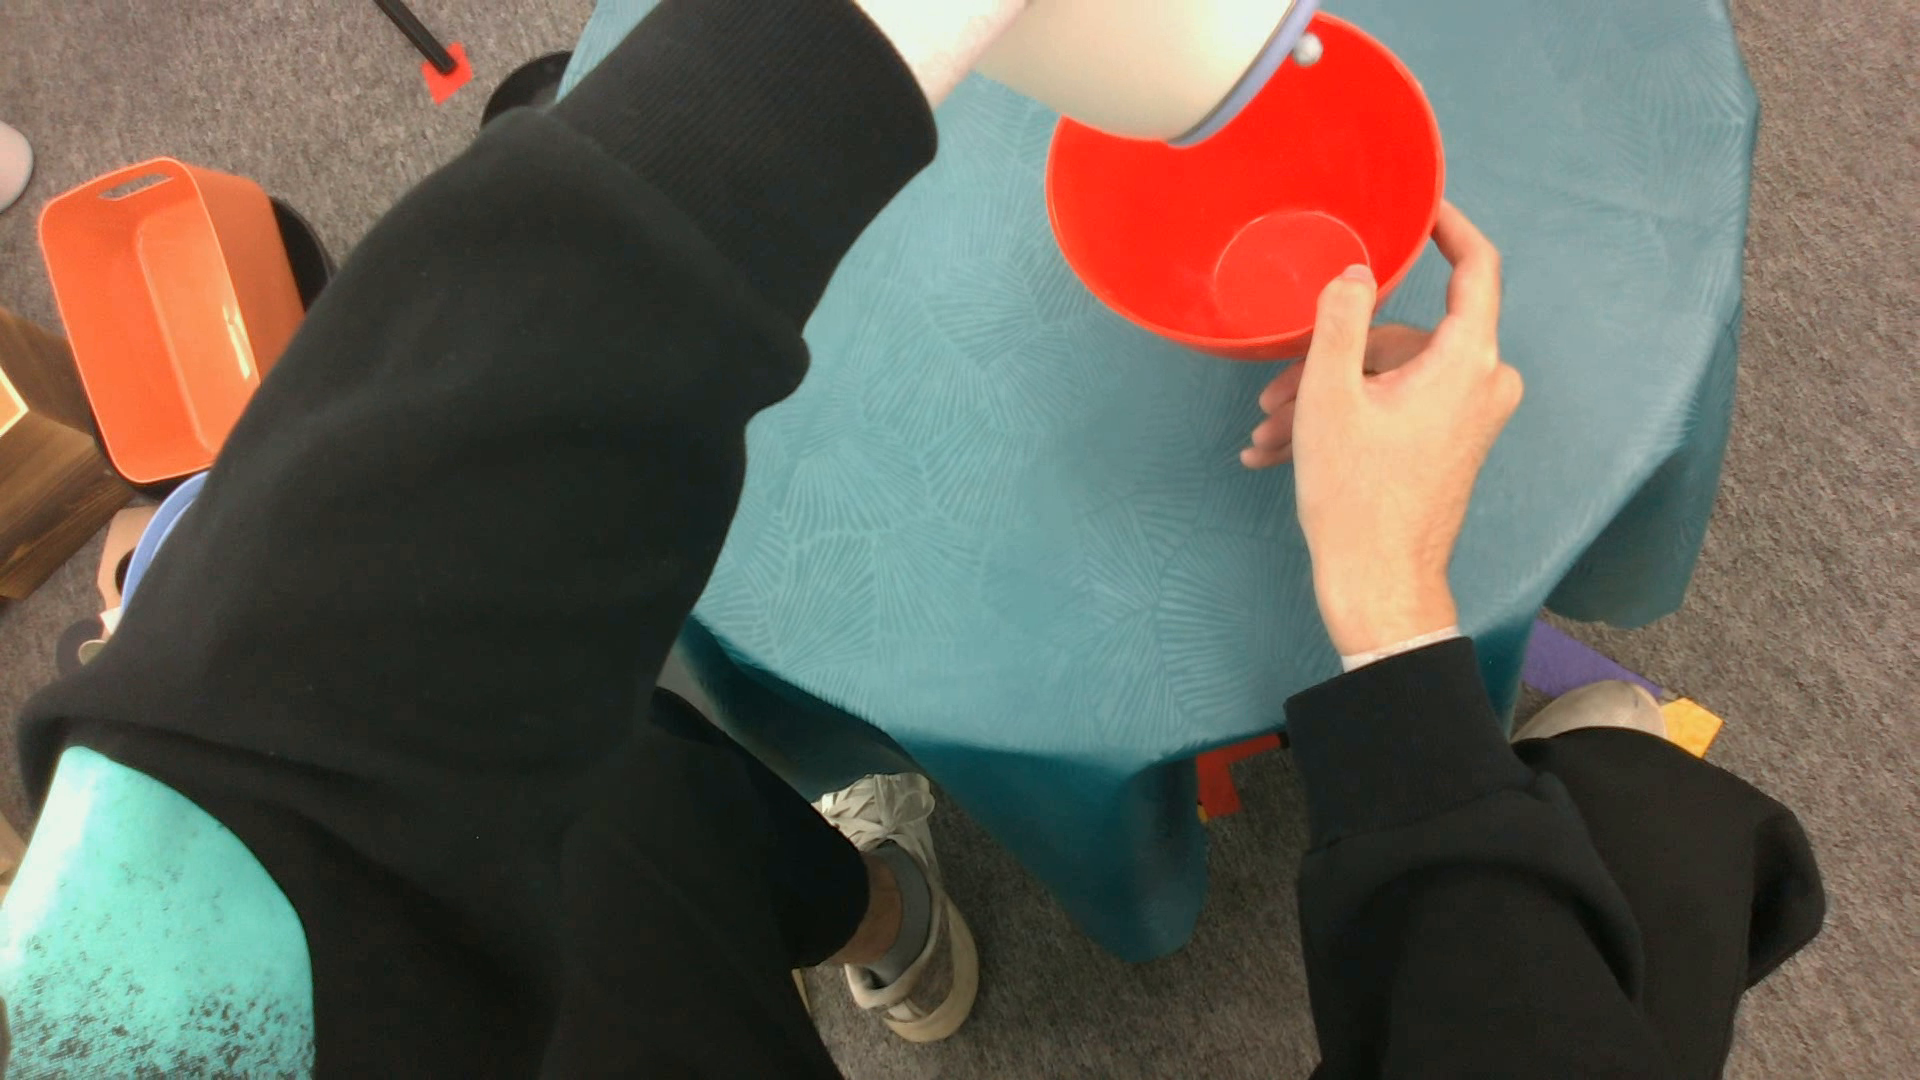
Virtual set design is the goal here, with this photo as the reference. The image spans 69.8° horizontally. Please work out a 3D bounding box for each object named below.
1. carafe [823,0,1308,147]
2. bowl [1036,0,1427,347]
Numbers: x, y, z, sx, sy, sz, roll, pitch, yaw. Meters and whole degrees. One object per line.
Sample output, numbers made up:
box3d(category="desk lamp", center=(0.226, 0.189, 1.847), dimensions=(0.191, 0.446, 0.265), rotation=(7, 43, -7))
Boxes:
box3d(category="carafe", center=(0.022, -0.207, 0.383), dimensions=(0.182, 0.191, 0.132), rotation=(21, 87, -13))
box3d(category="bowl", center=(0.117, -0.137, 0.571), dimensions=(0.148, 0.104, 0.148), rotation=(-6, 70, 17))
